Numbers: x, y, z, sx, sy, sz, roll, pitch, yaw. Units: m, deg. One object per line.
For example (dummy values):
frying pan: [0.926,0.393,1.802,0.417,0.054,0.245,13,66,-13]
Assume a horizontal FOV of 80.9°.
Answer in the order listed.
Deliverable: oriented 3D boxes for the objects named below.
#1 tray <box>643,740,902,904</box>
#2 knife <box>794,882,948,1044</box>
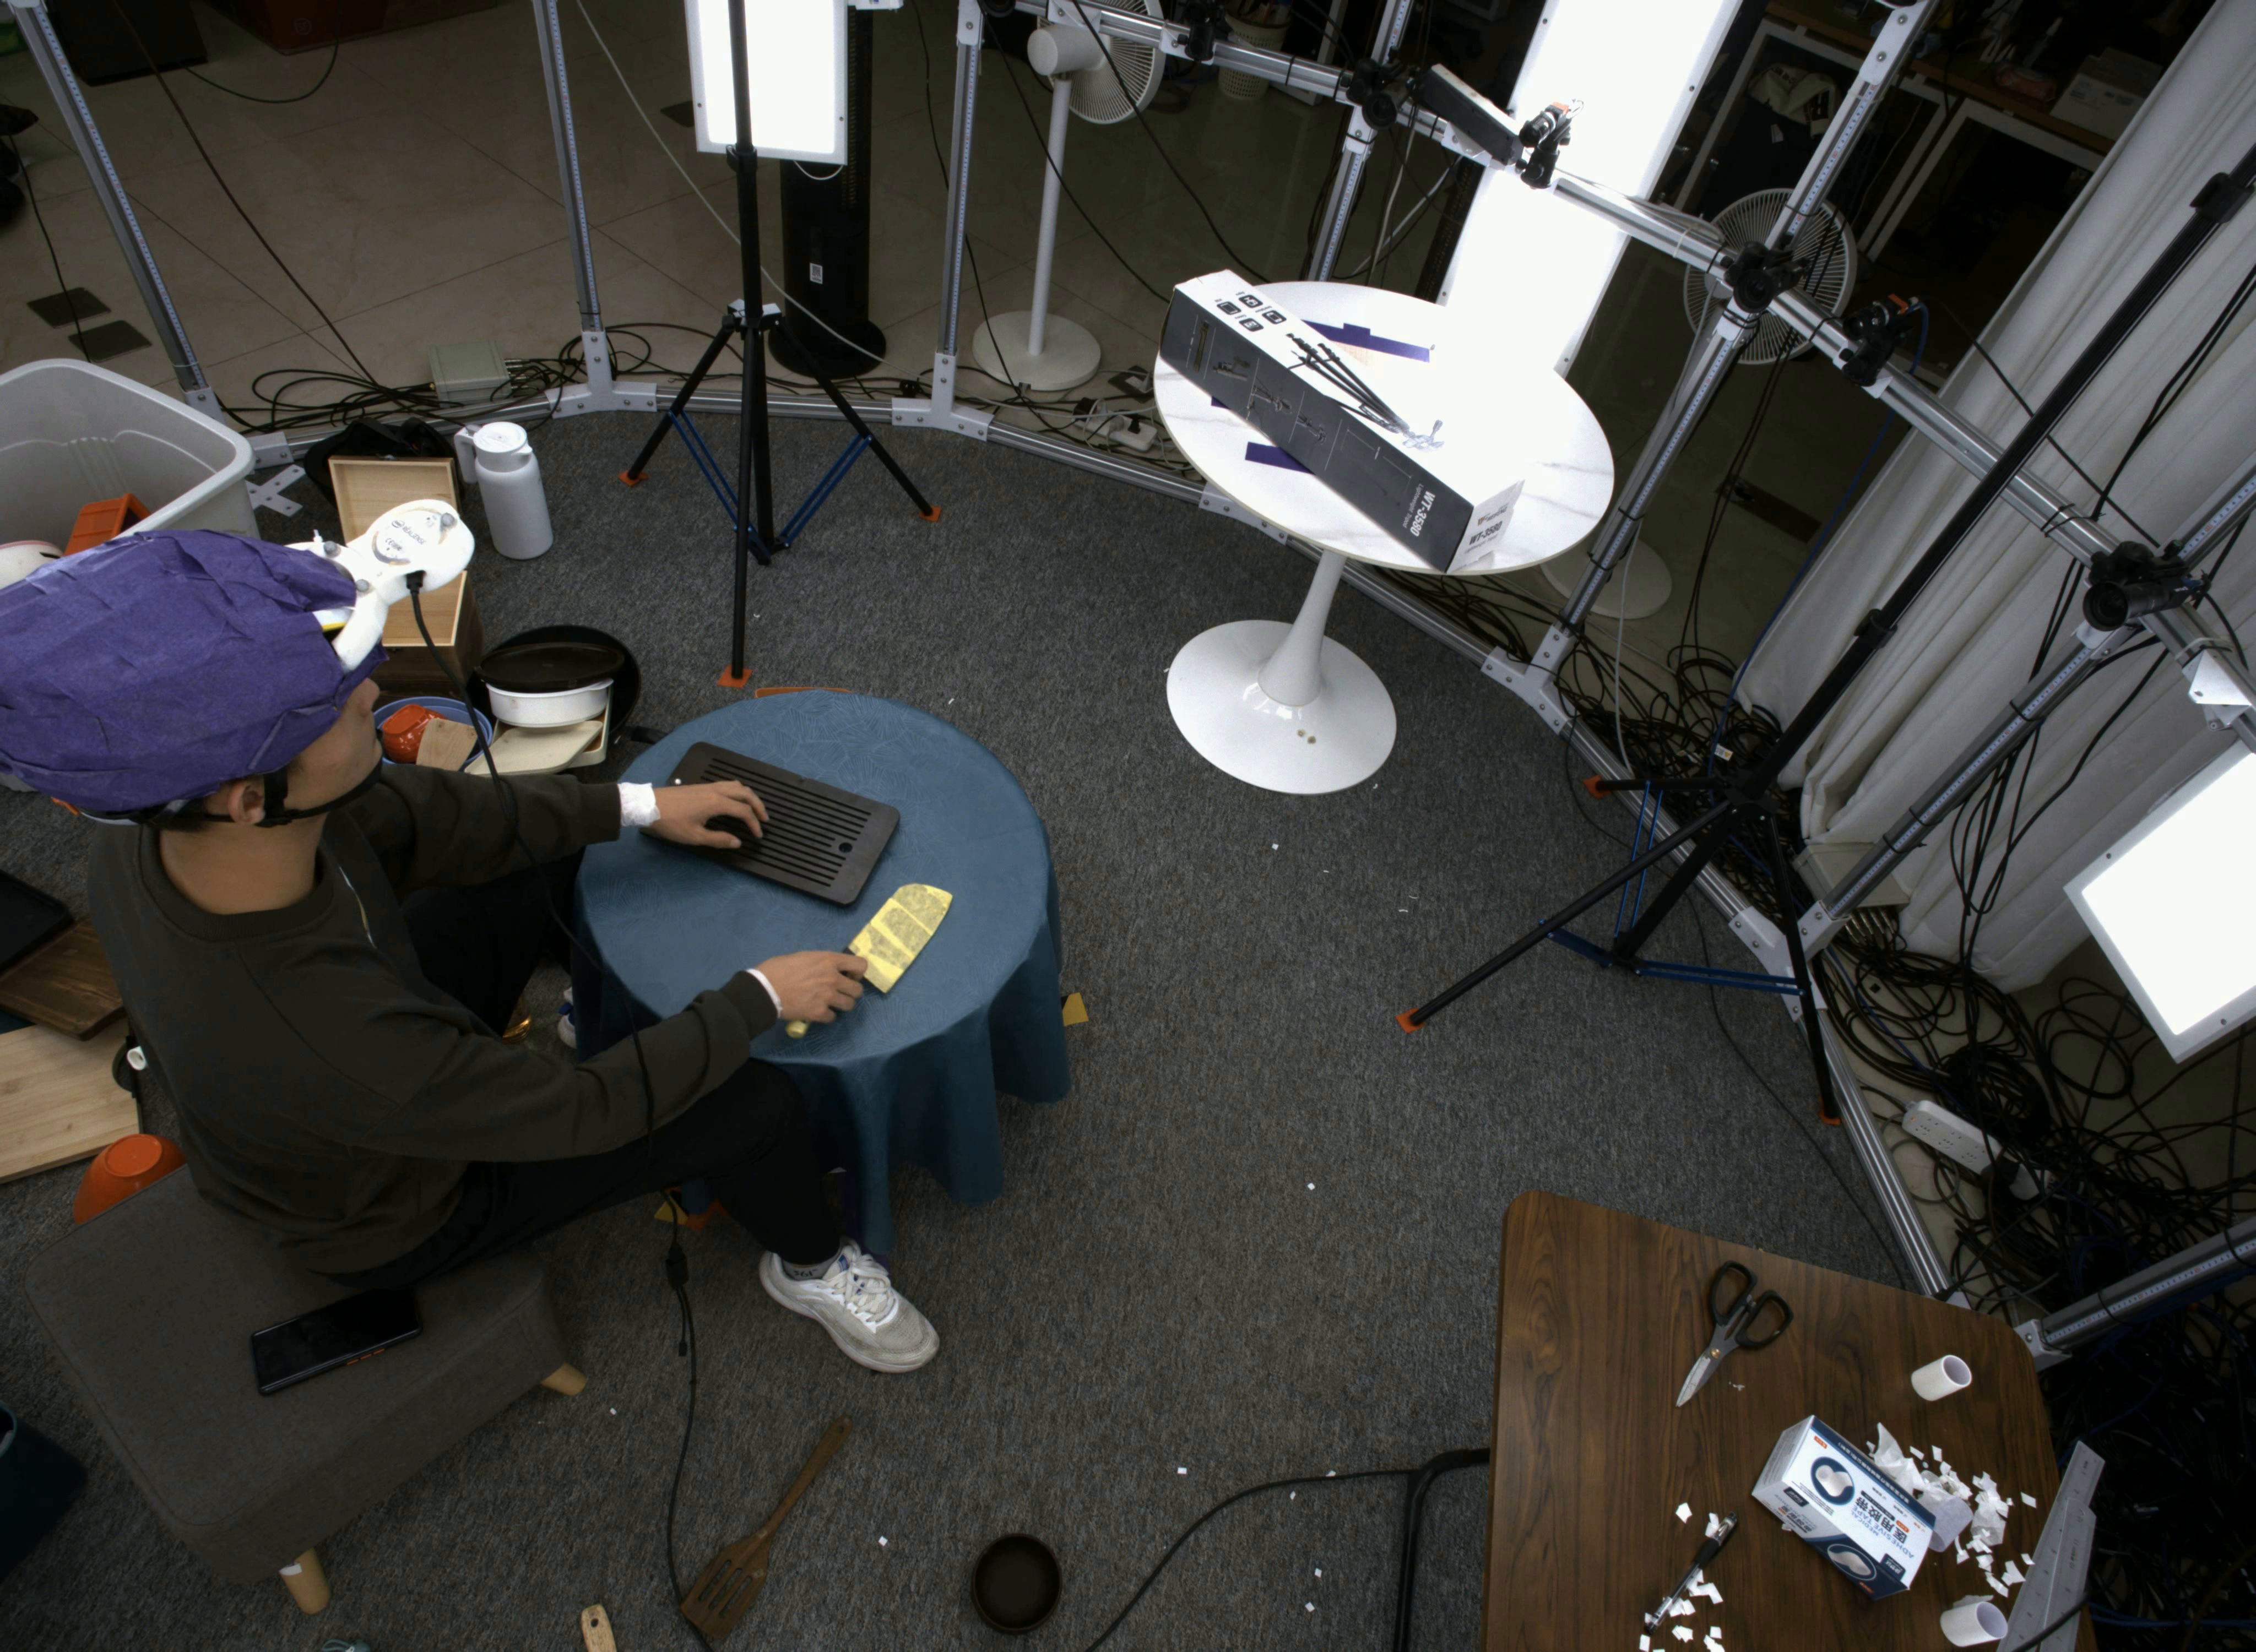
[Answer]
tray: [-0.470,-0.007,1.717,0.303,0.019,0.168,19,52,1]
knife: [-0.313,0.166,1.615,0.081,0.027,0.288,43,51,-6]
